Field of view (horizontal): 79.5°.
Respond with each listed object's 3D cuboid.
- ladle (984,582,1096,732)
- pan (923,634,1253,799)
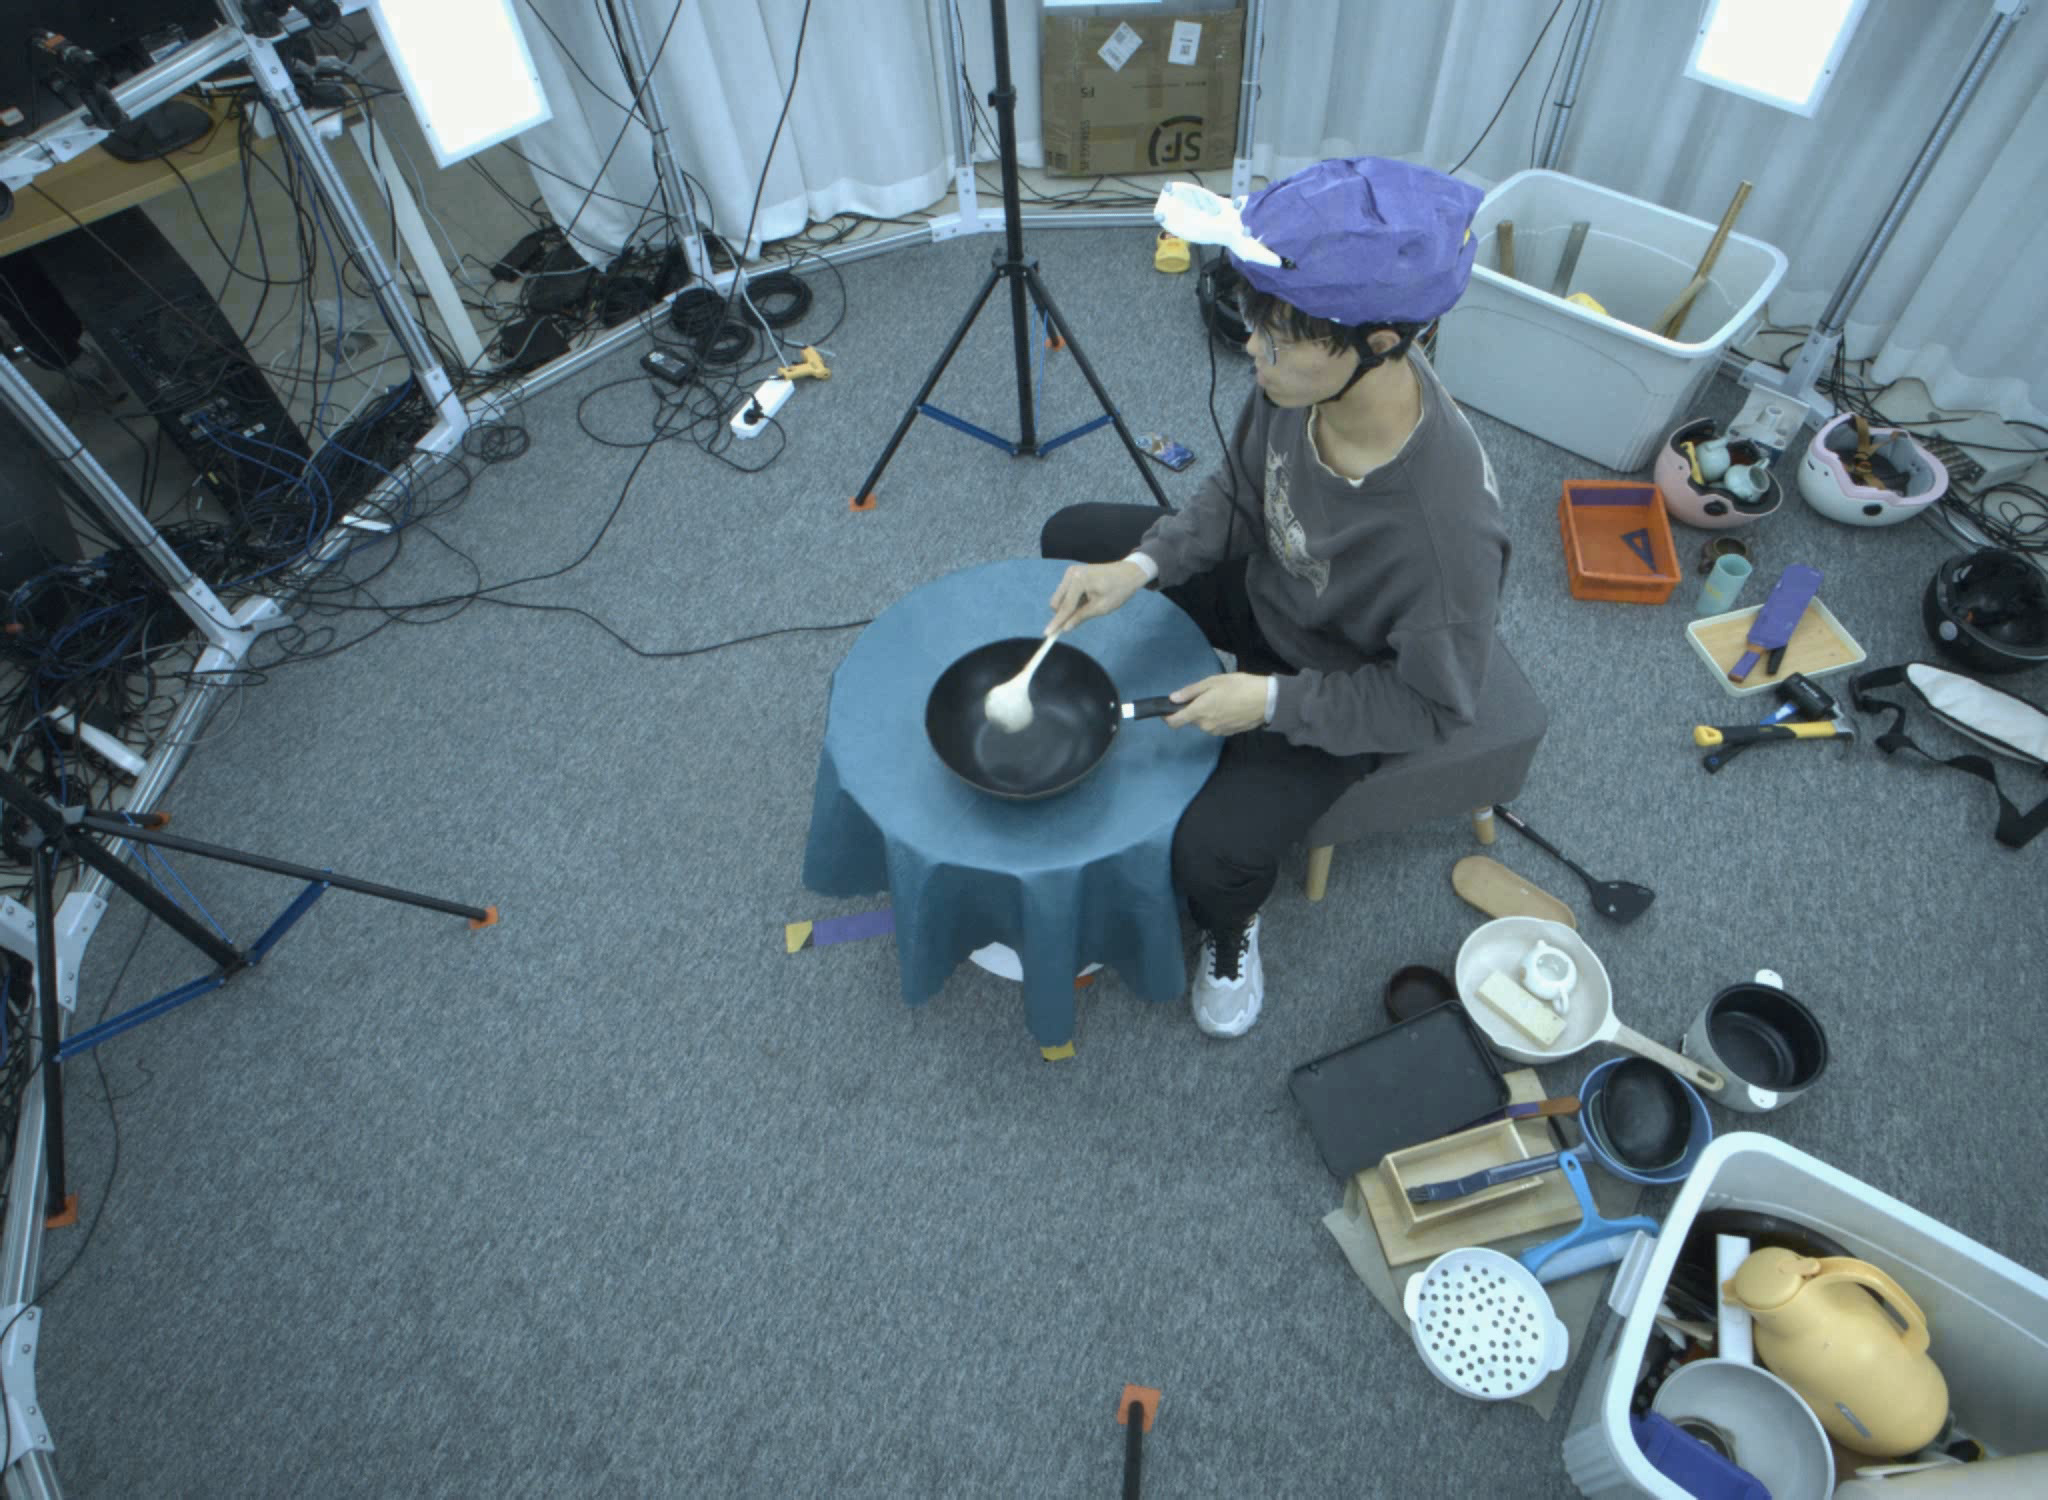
[{"bbox_3d":[0.031,-0.132,1.763,0.071,0.073,0.255,30,65,13],"label":"ladle"},{"bbox_3d":[0.091,-0.038,1.759,0.464,0.088,0.285,-2,54,-1],"label":"pan"}]
